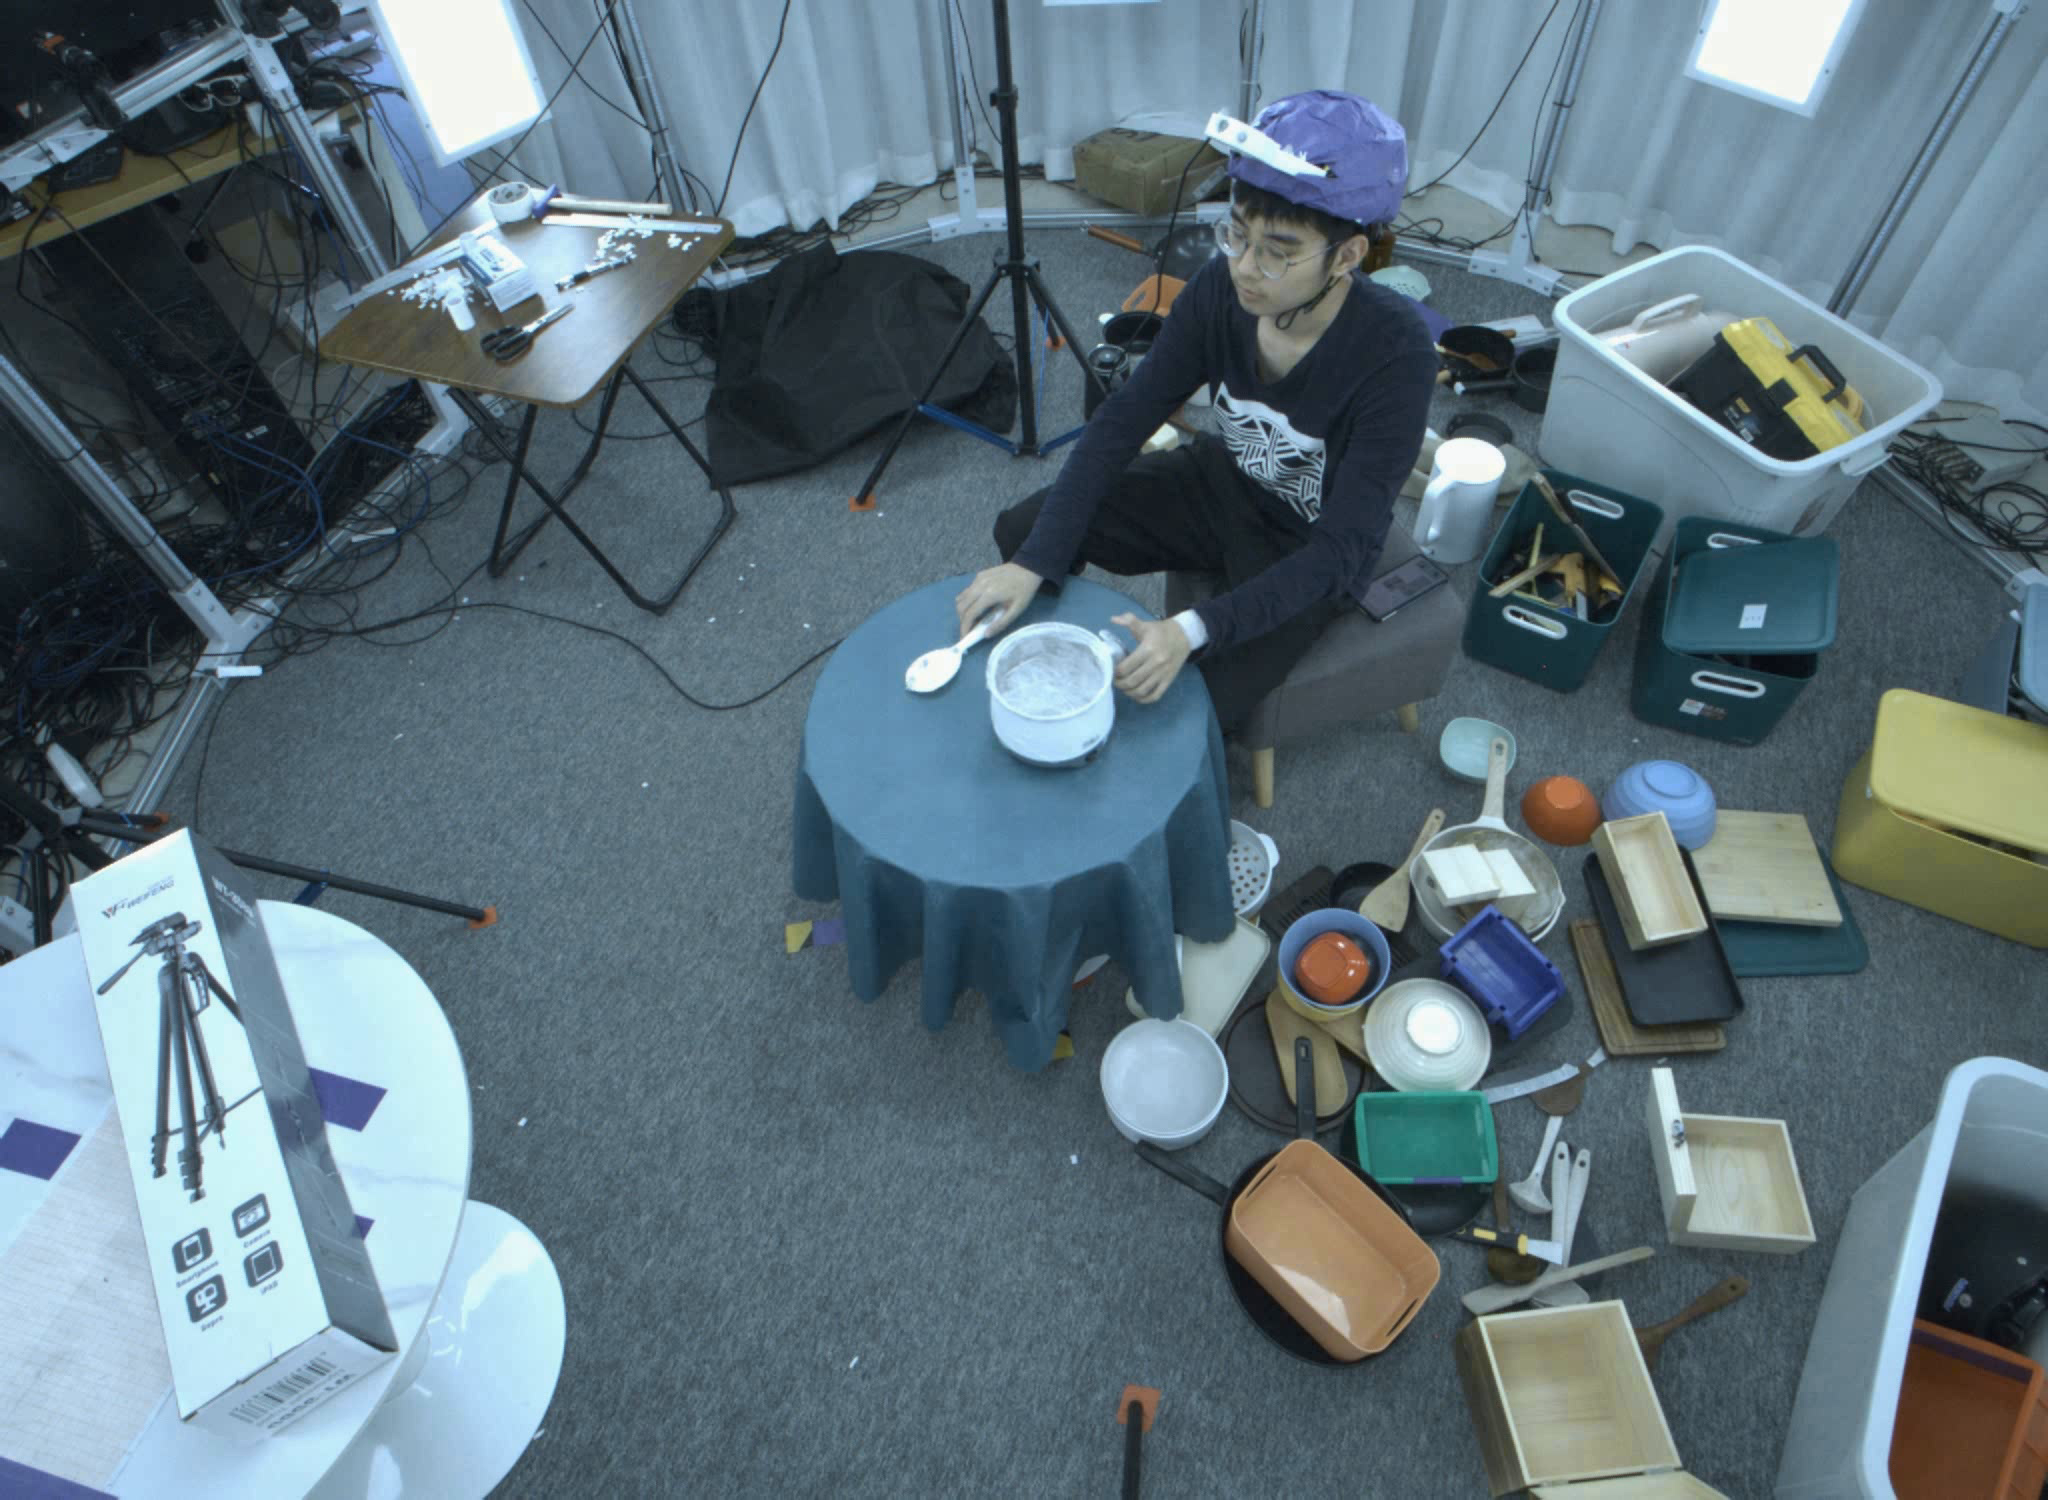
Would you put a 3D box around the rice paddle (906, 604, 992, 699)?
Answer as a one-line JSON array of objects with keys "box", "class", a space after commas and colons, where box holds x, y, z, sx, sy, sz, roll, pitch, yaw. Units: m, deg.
[{"box": [-0.113, -0.151, 1.890, 0.068, 0.030, 0.206, 24, 55, 17], "class": "rice paddle"}]

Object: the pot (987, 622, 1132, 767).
[{"box": [0.061, -0.089, 1.773, 0.235, 0.138, 0.175, -36, 62, -21], "class": "pot"}]
